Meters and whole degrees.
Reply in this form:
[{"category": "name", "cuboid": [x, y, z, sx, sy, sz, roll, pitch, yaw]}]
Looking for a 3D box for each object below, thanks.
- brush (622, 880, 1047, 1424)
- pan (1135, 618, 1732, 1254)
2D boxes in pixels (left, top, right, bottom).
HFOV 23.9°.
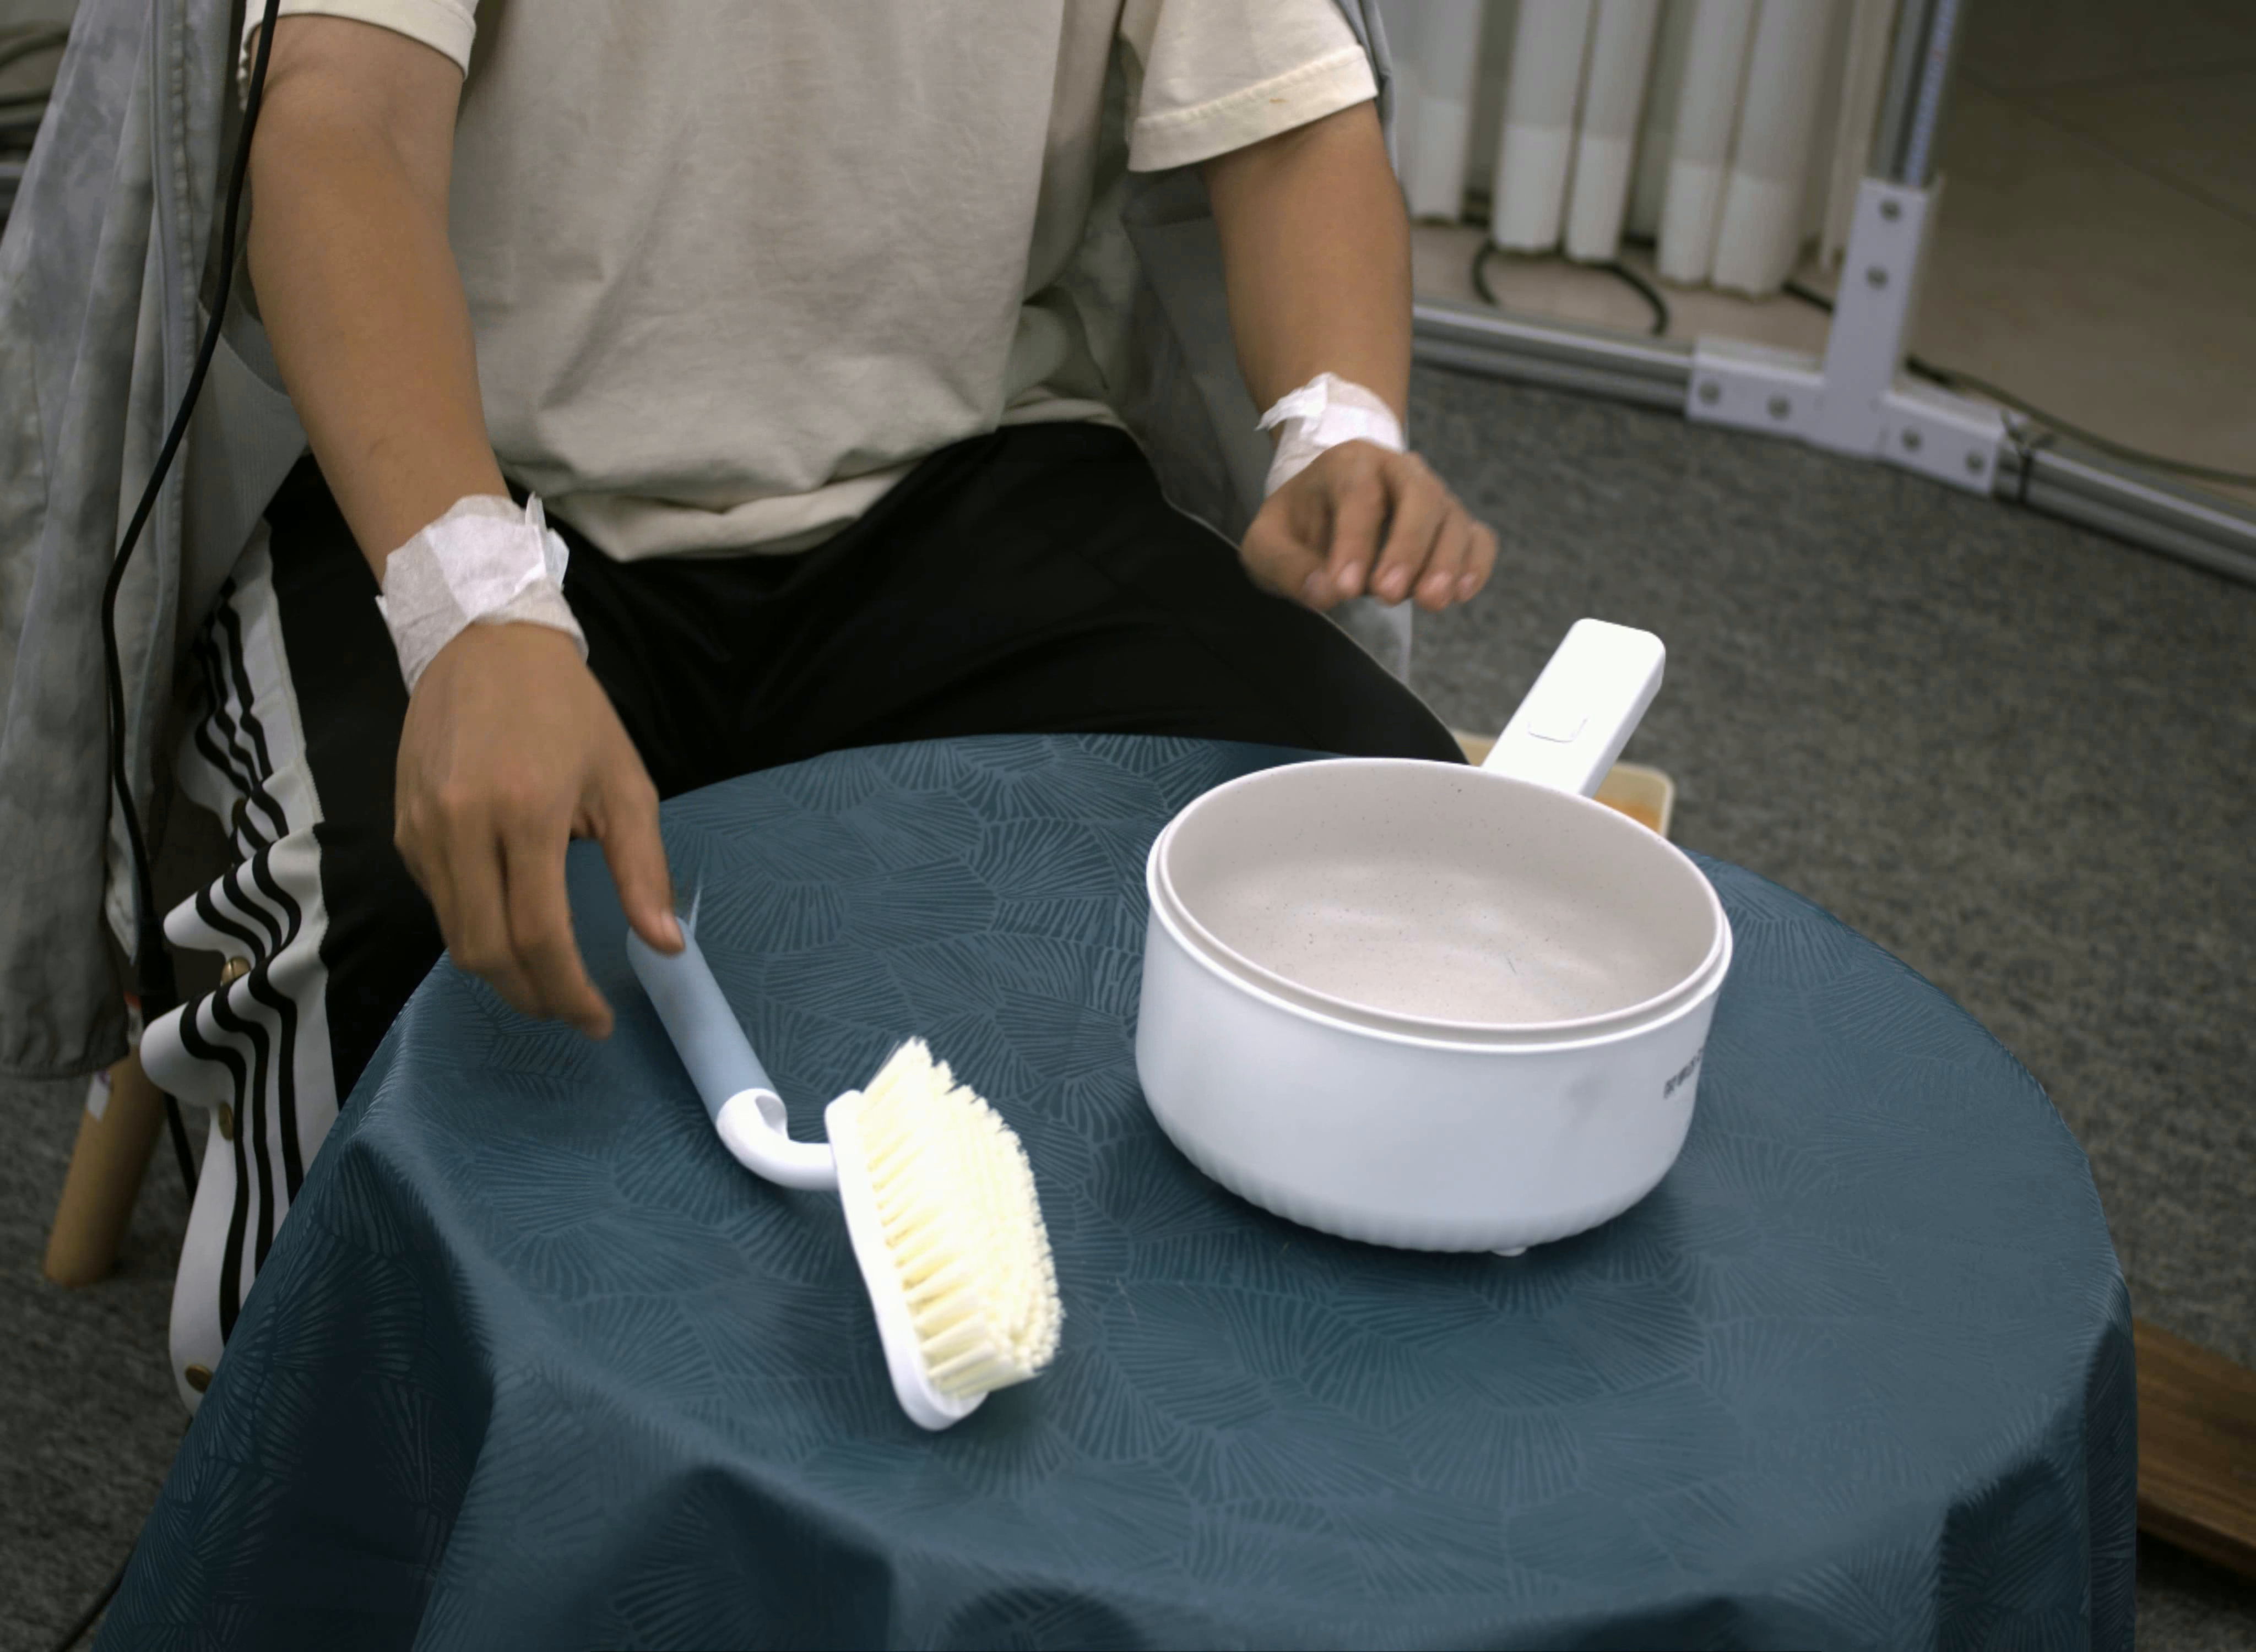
[{"category": "brush", "cuboid": [-0.094, 0.081, 1.776, 0.084, 0.083, 0.328, -10, 32, -16]}, {"category": "pan", "cuboid": [0.126, 0.034, 1.898, 0.201, 0.102, 0.355, 14, 27, 15]}]
